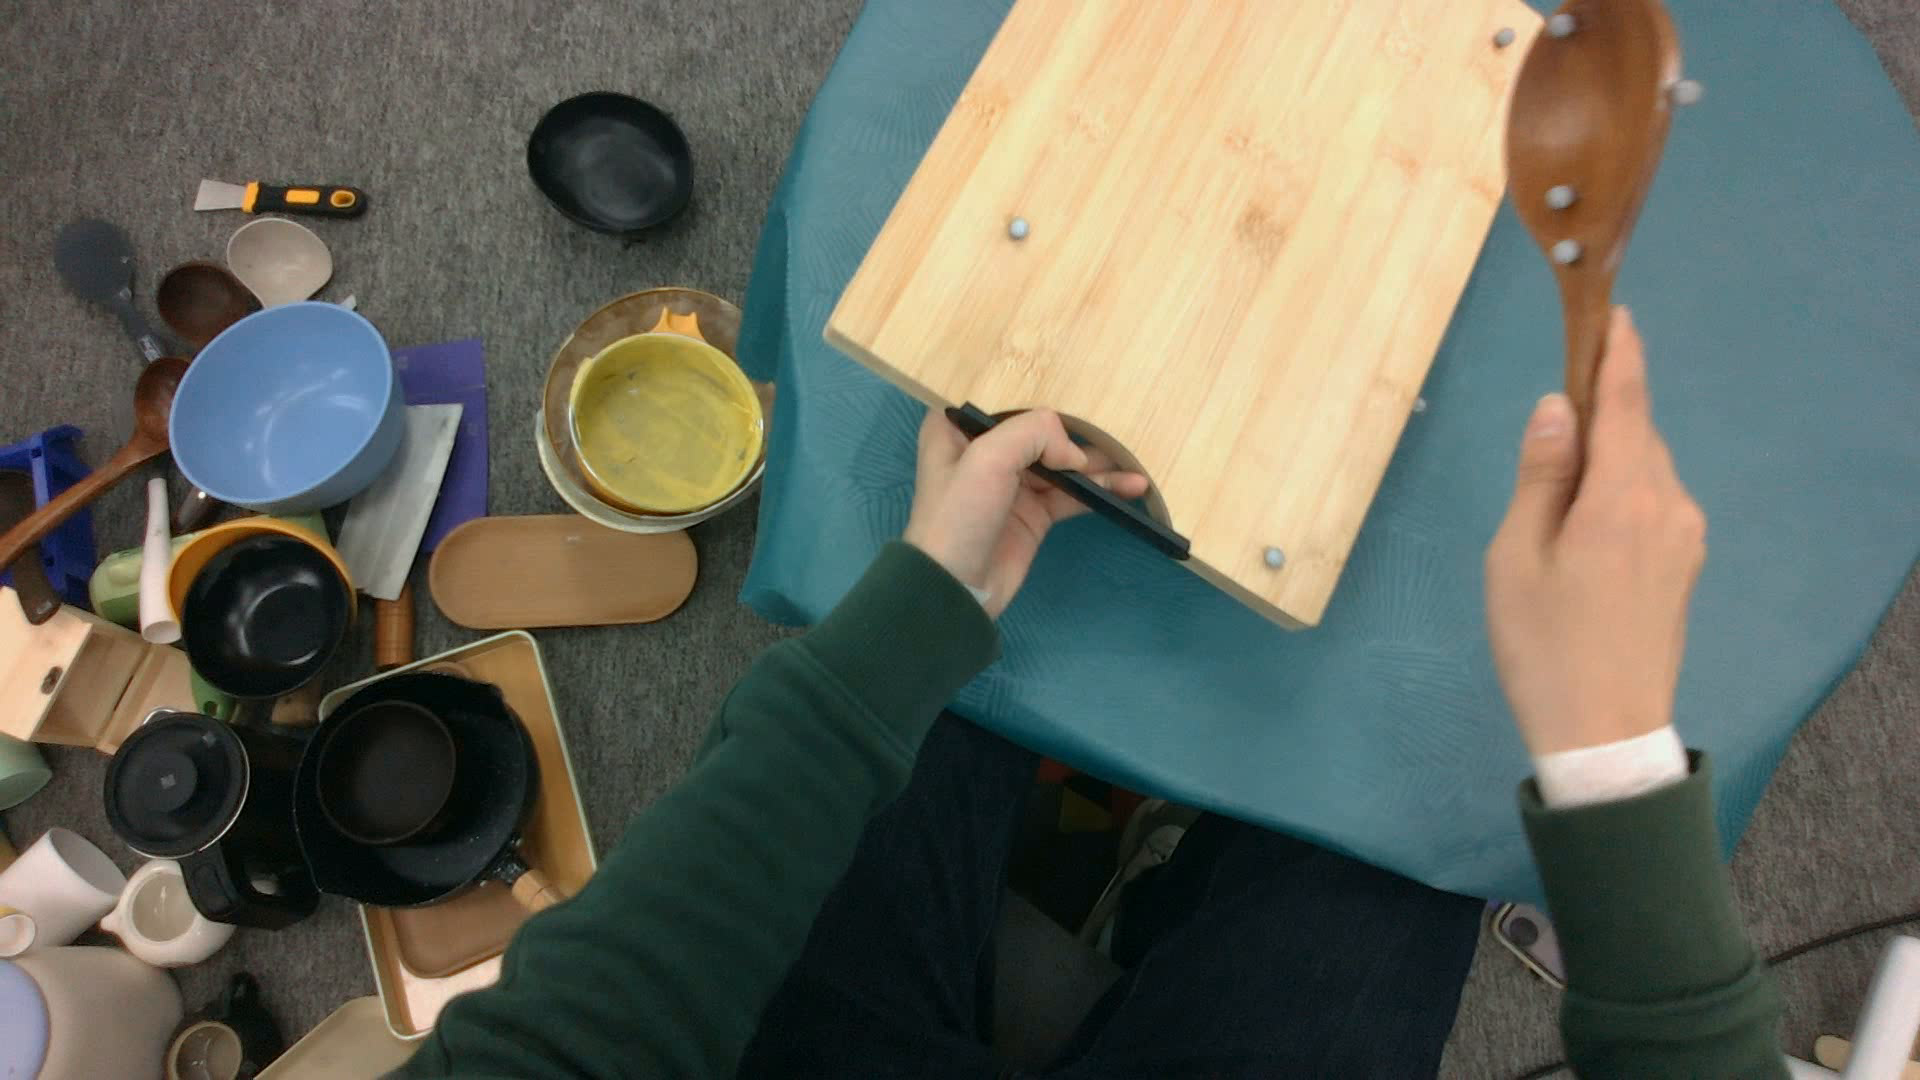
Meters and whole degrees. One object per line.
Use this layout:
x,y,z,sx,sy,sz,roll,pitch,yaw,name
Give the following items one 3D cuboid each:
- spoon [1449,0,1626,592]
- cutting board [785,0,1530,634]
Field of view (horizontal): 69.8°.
0.207,-0.089,0.485,0.017,0.075,0.216,3,84,-24,spoon
0.112,-0.165,0.616,0.251,0.023,0.349,30,73,-9,cutting board
